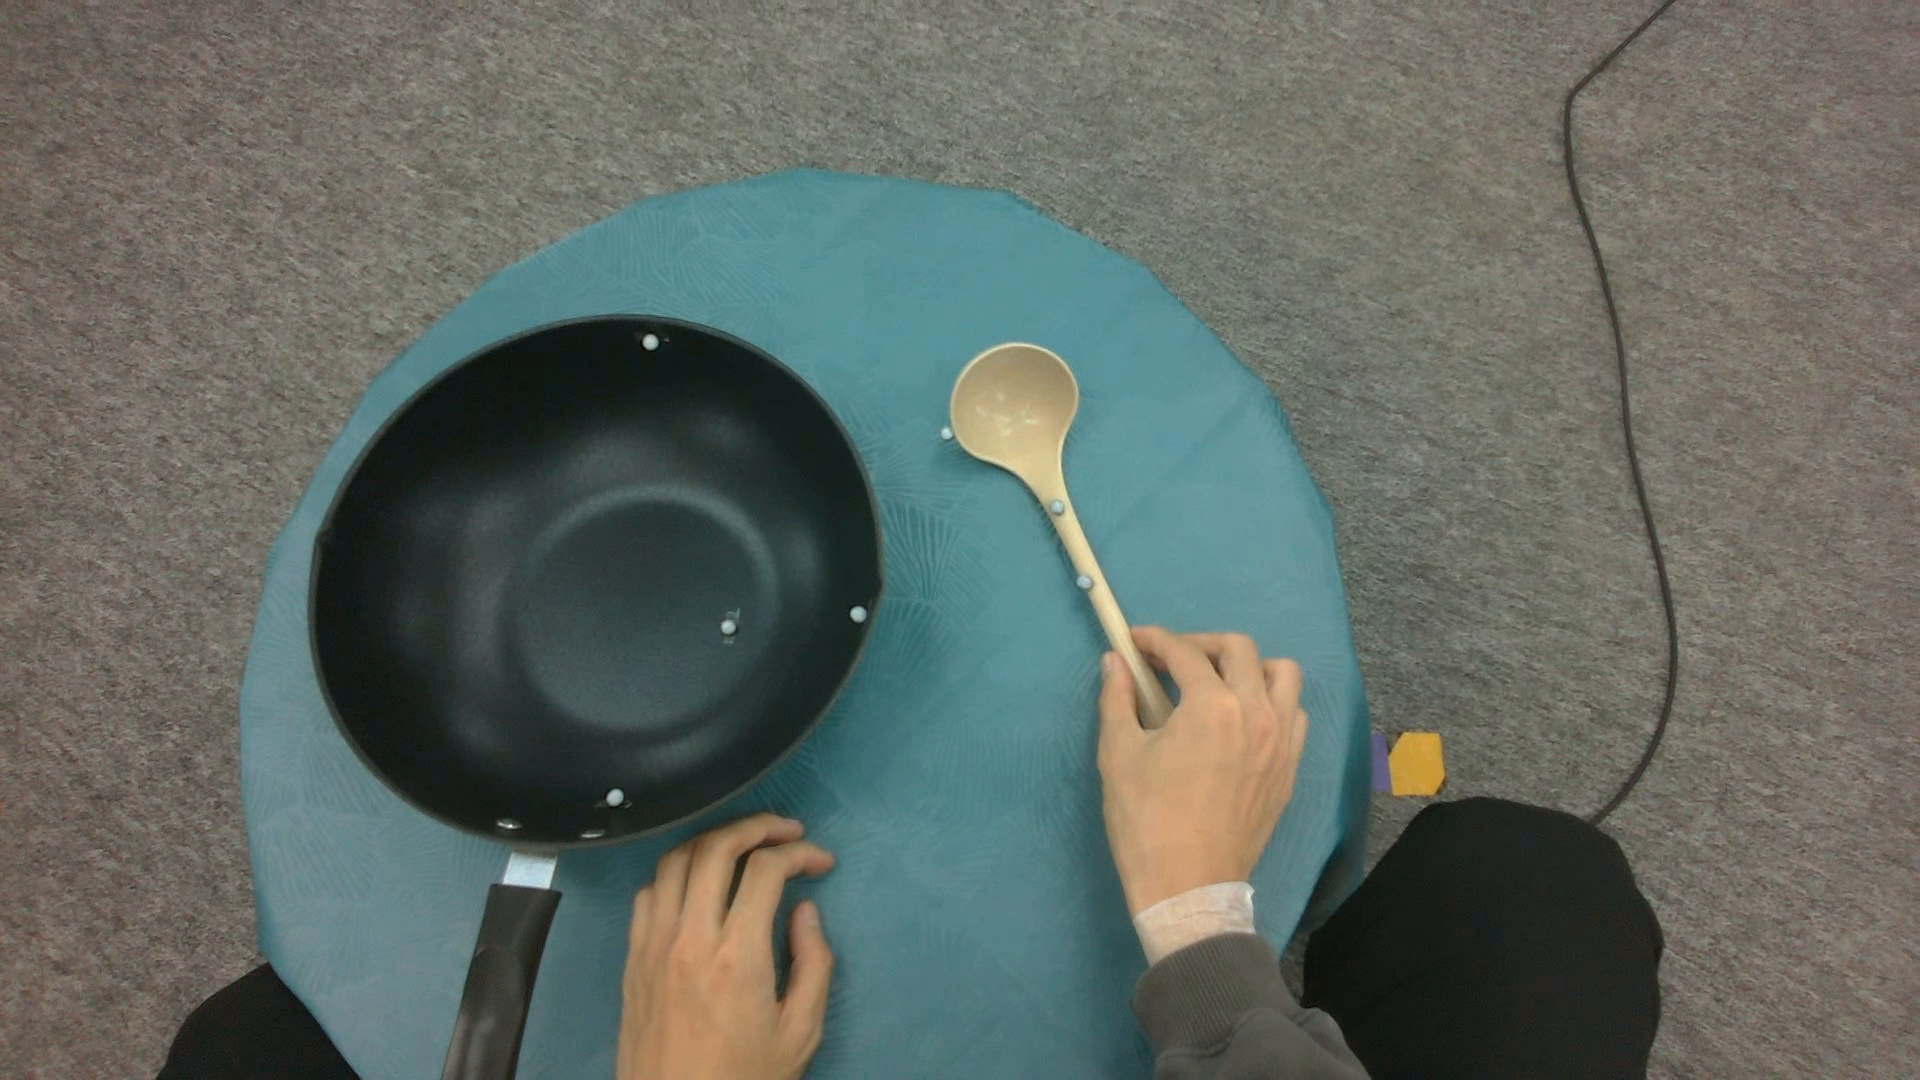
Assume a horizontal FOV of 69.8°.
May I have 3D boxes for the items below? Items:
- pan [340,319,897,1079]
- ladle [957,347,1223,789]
[{"bbox_3d":[-0.183,0.110,0.697,0.288,0.086,0.465,6,70,6],"label":"pan"},{"bbox_3d":[0.073,0.008,0.721,0.072,0.072,0.255,-25,65,-4],"label":"ladle"}]
